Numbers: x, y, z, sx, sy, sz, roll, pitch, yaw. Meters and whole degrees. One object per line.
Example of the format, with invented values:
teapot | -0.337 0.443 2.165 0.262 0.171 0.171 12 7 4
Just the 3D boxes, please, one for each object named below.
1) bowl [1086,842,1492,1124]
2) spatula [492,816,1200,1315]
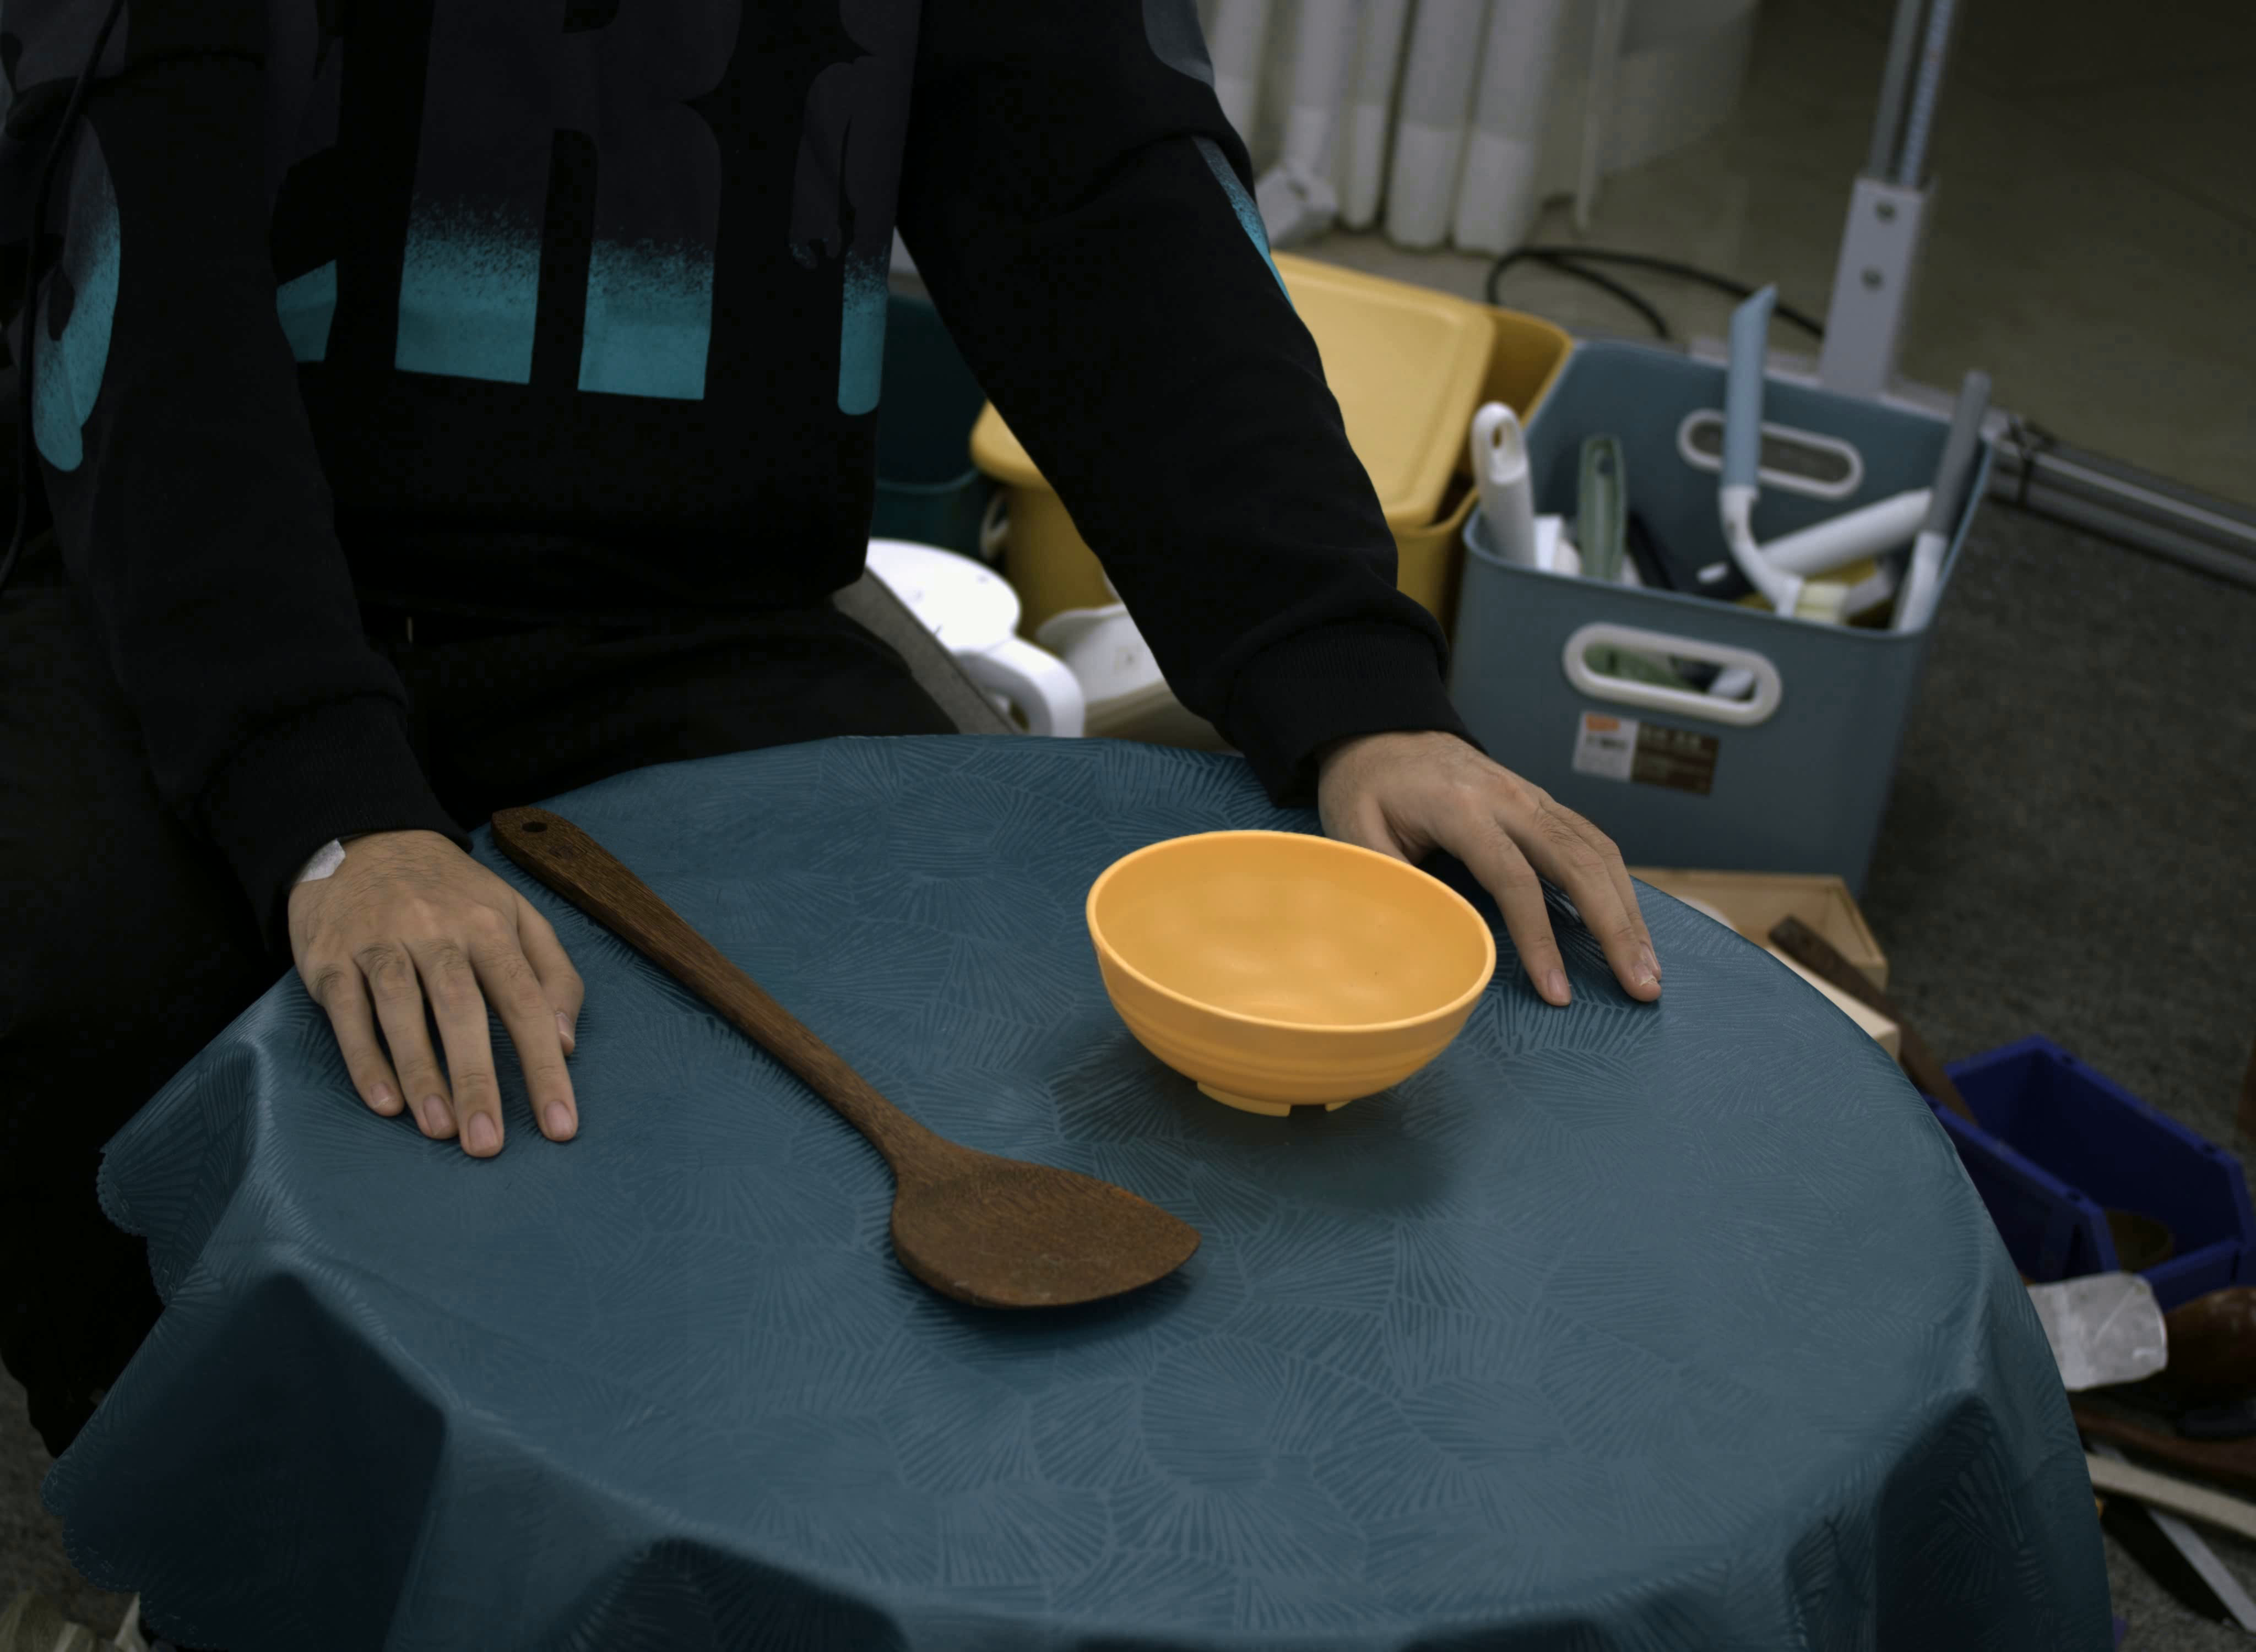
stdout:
bowl | 0.052 0.063 1.871 0.145 0.060 0.146 7 24 -3
spatula | -0.118 0.075 1.855 0.095 0.016 0.389 -13 32 -35
